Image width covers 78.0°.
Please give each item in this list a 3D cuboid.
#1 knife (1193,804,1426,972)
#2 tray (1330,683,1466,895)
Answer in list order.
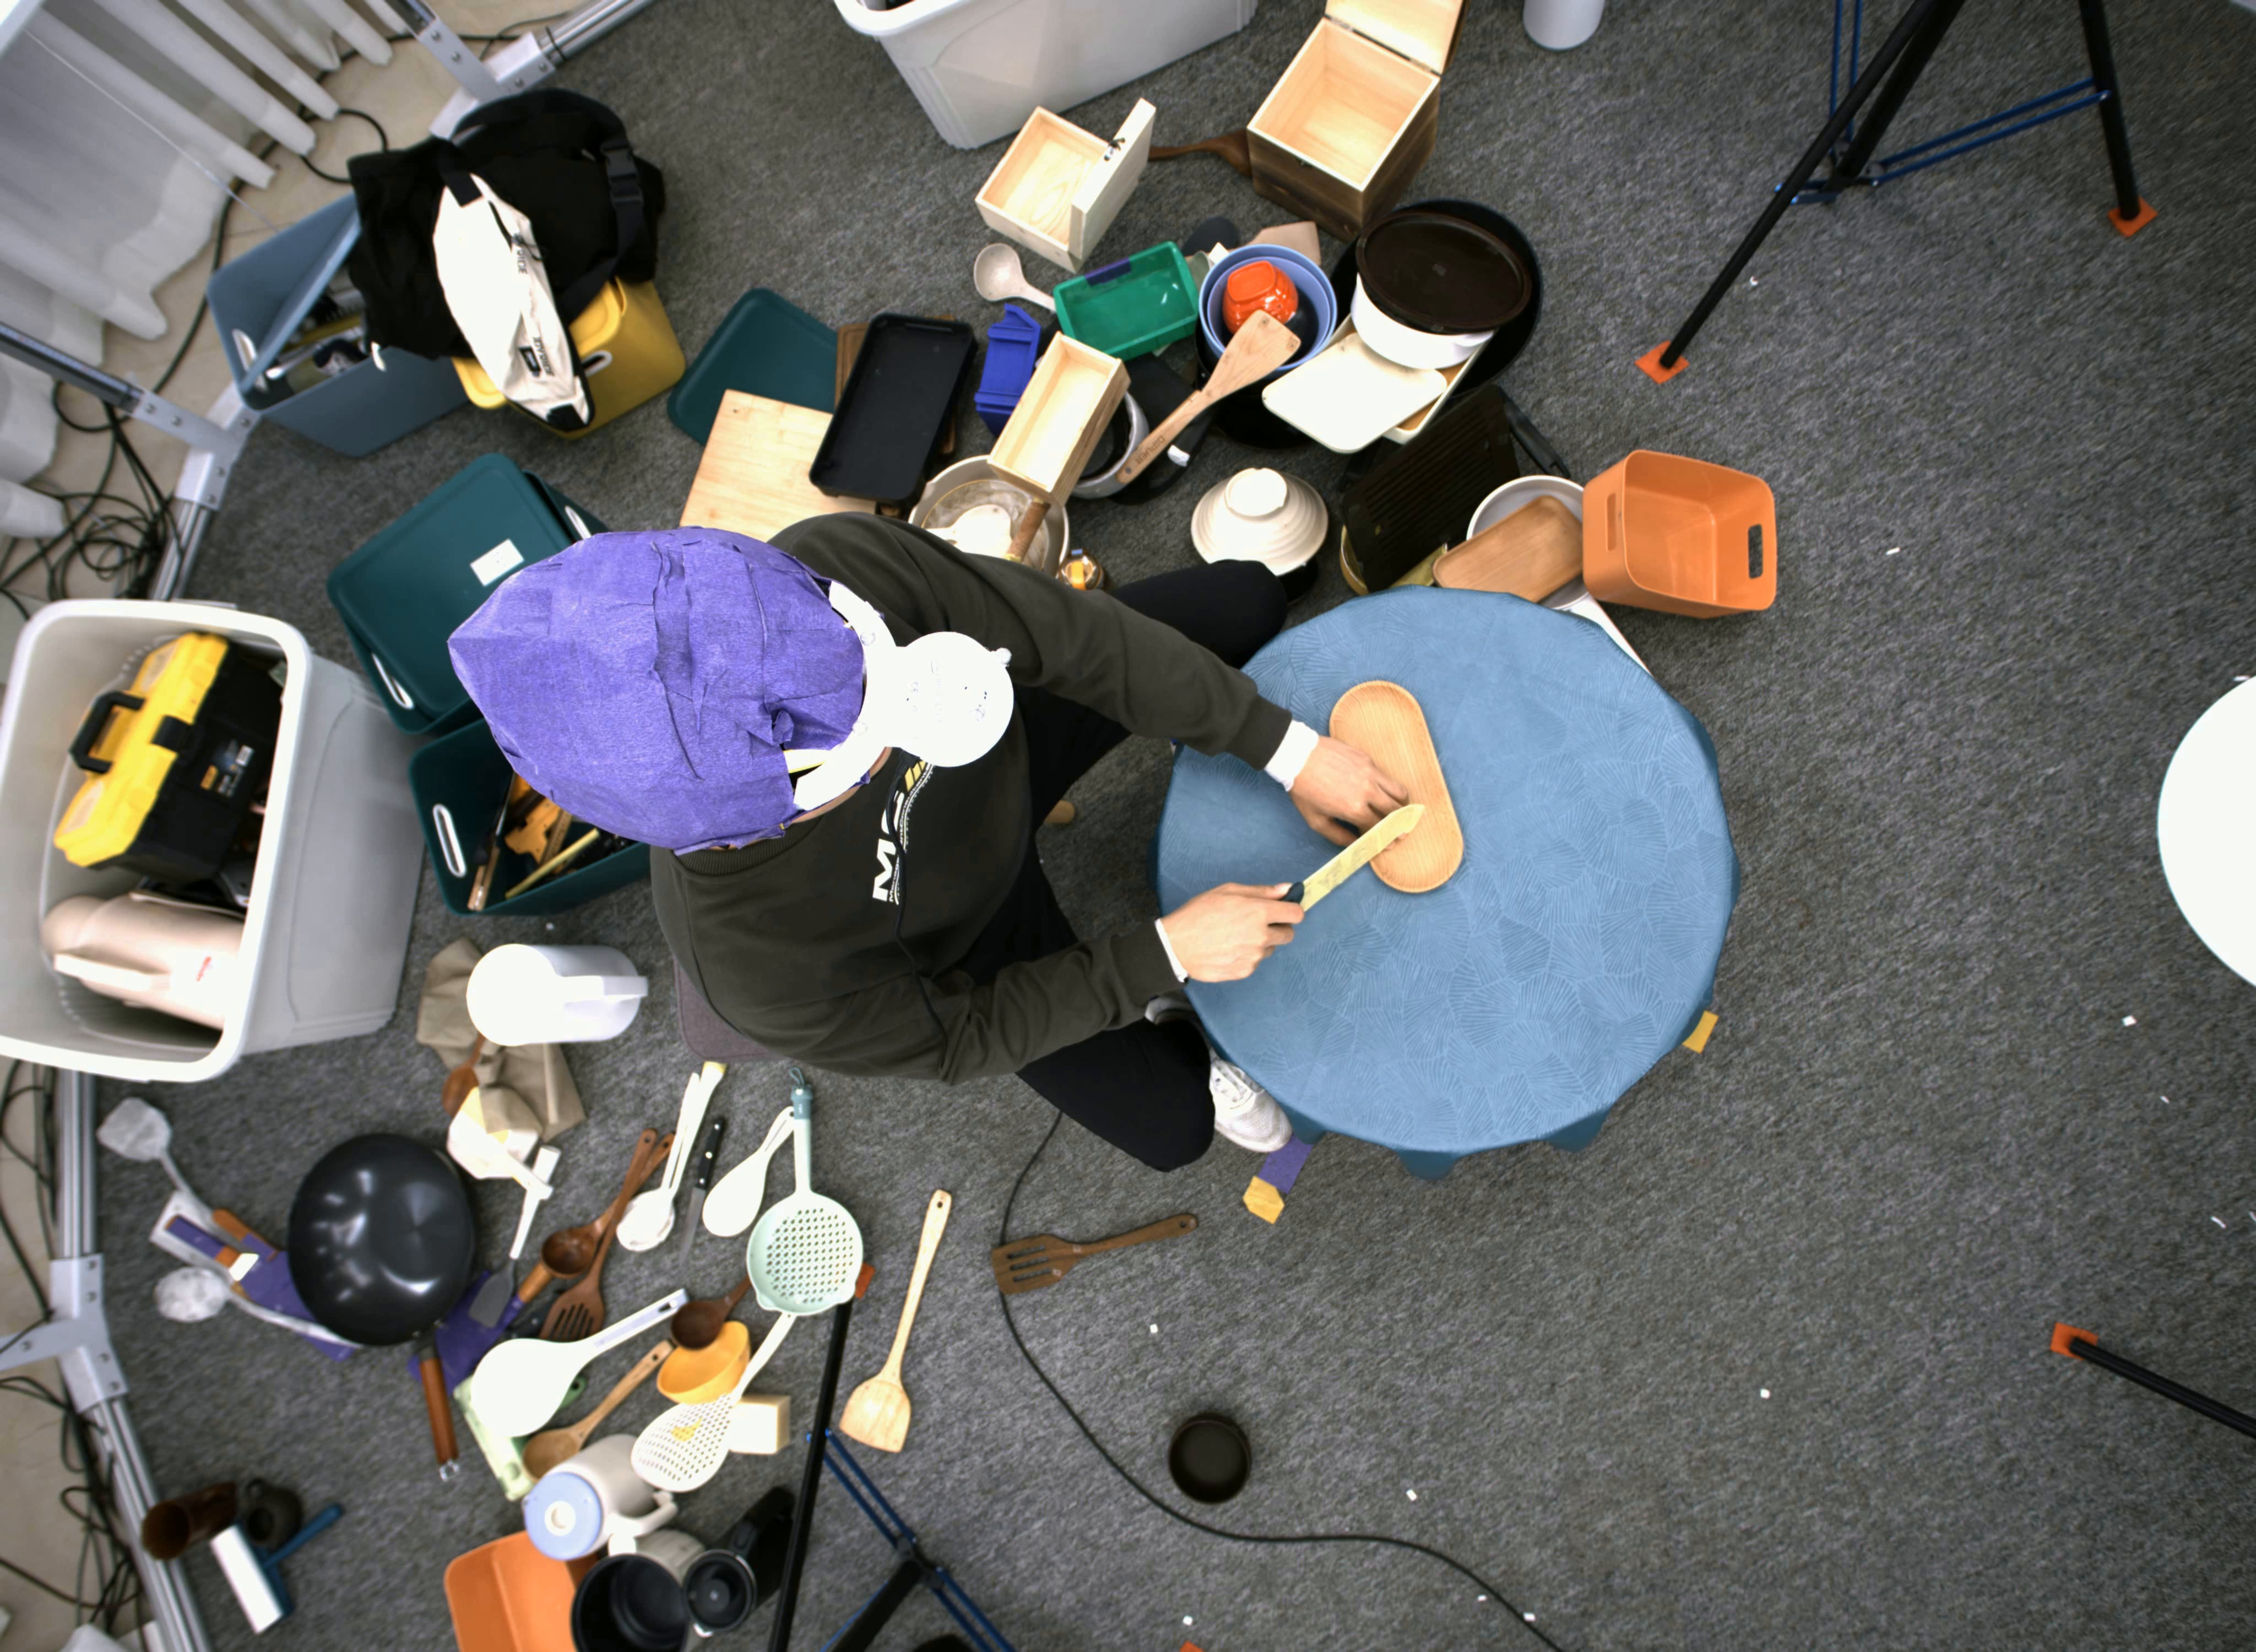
[{"bbox_3d":[0.187,0.060,1.395,0.289,0.082,0.027,-35,63,-3],"label":"knife"},{"bbox_3d":[0.284,-0.041,1.456,0.102,0.020,0.230,-18,85,11],"label":"tray"}]
